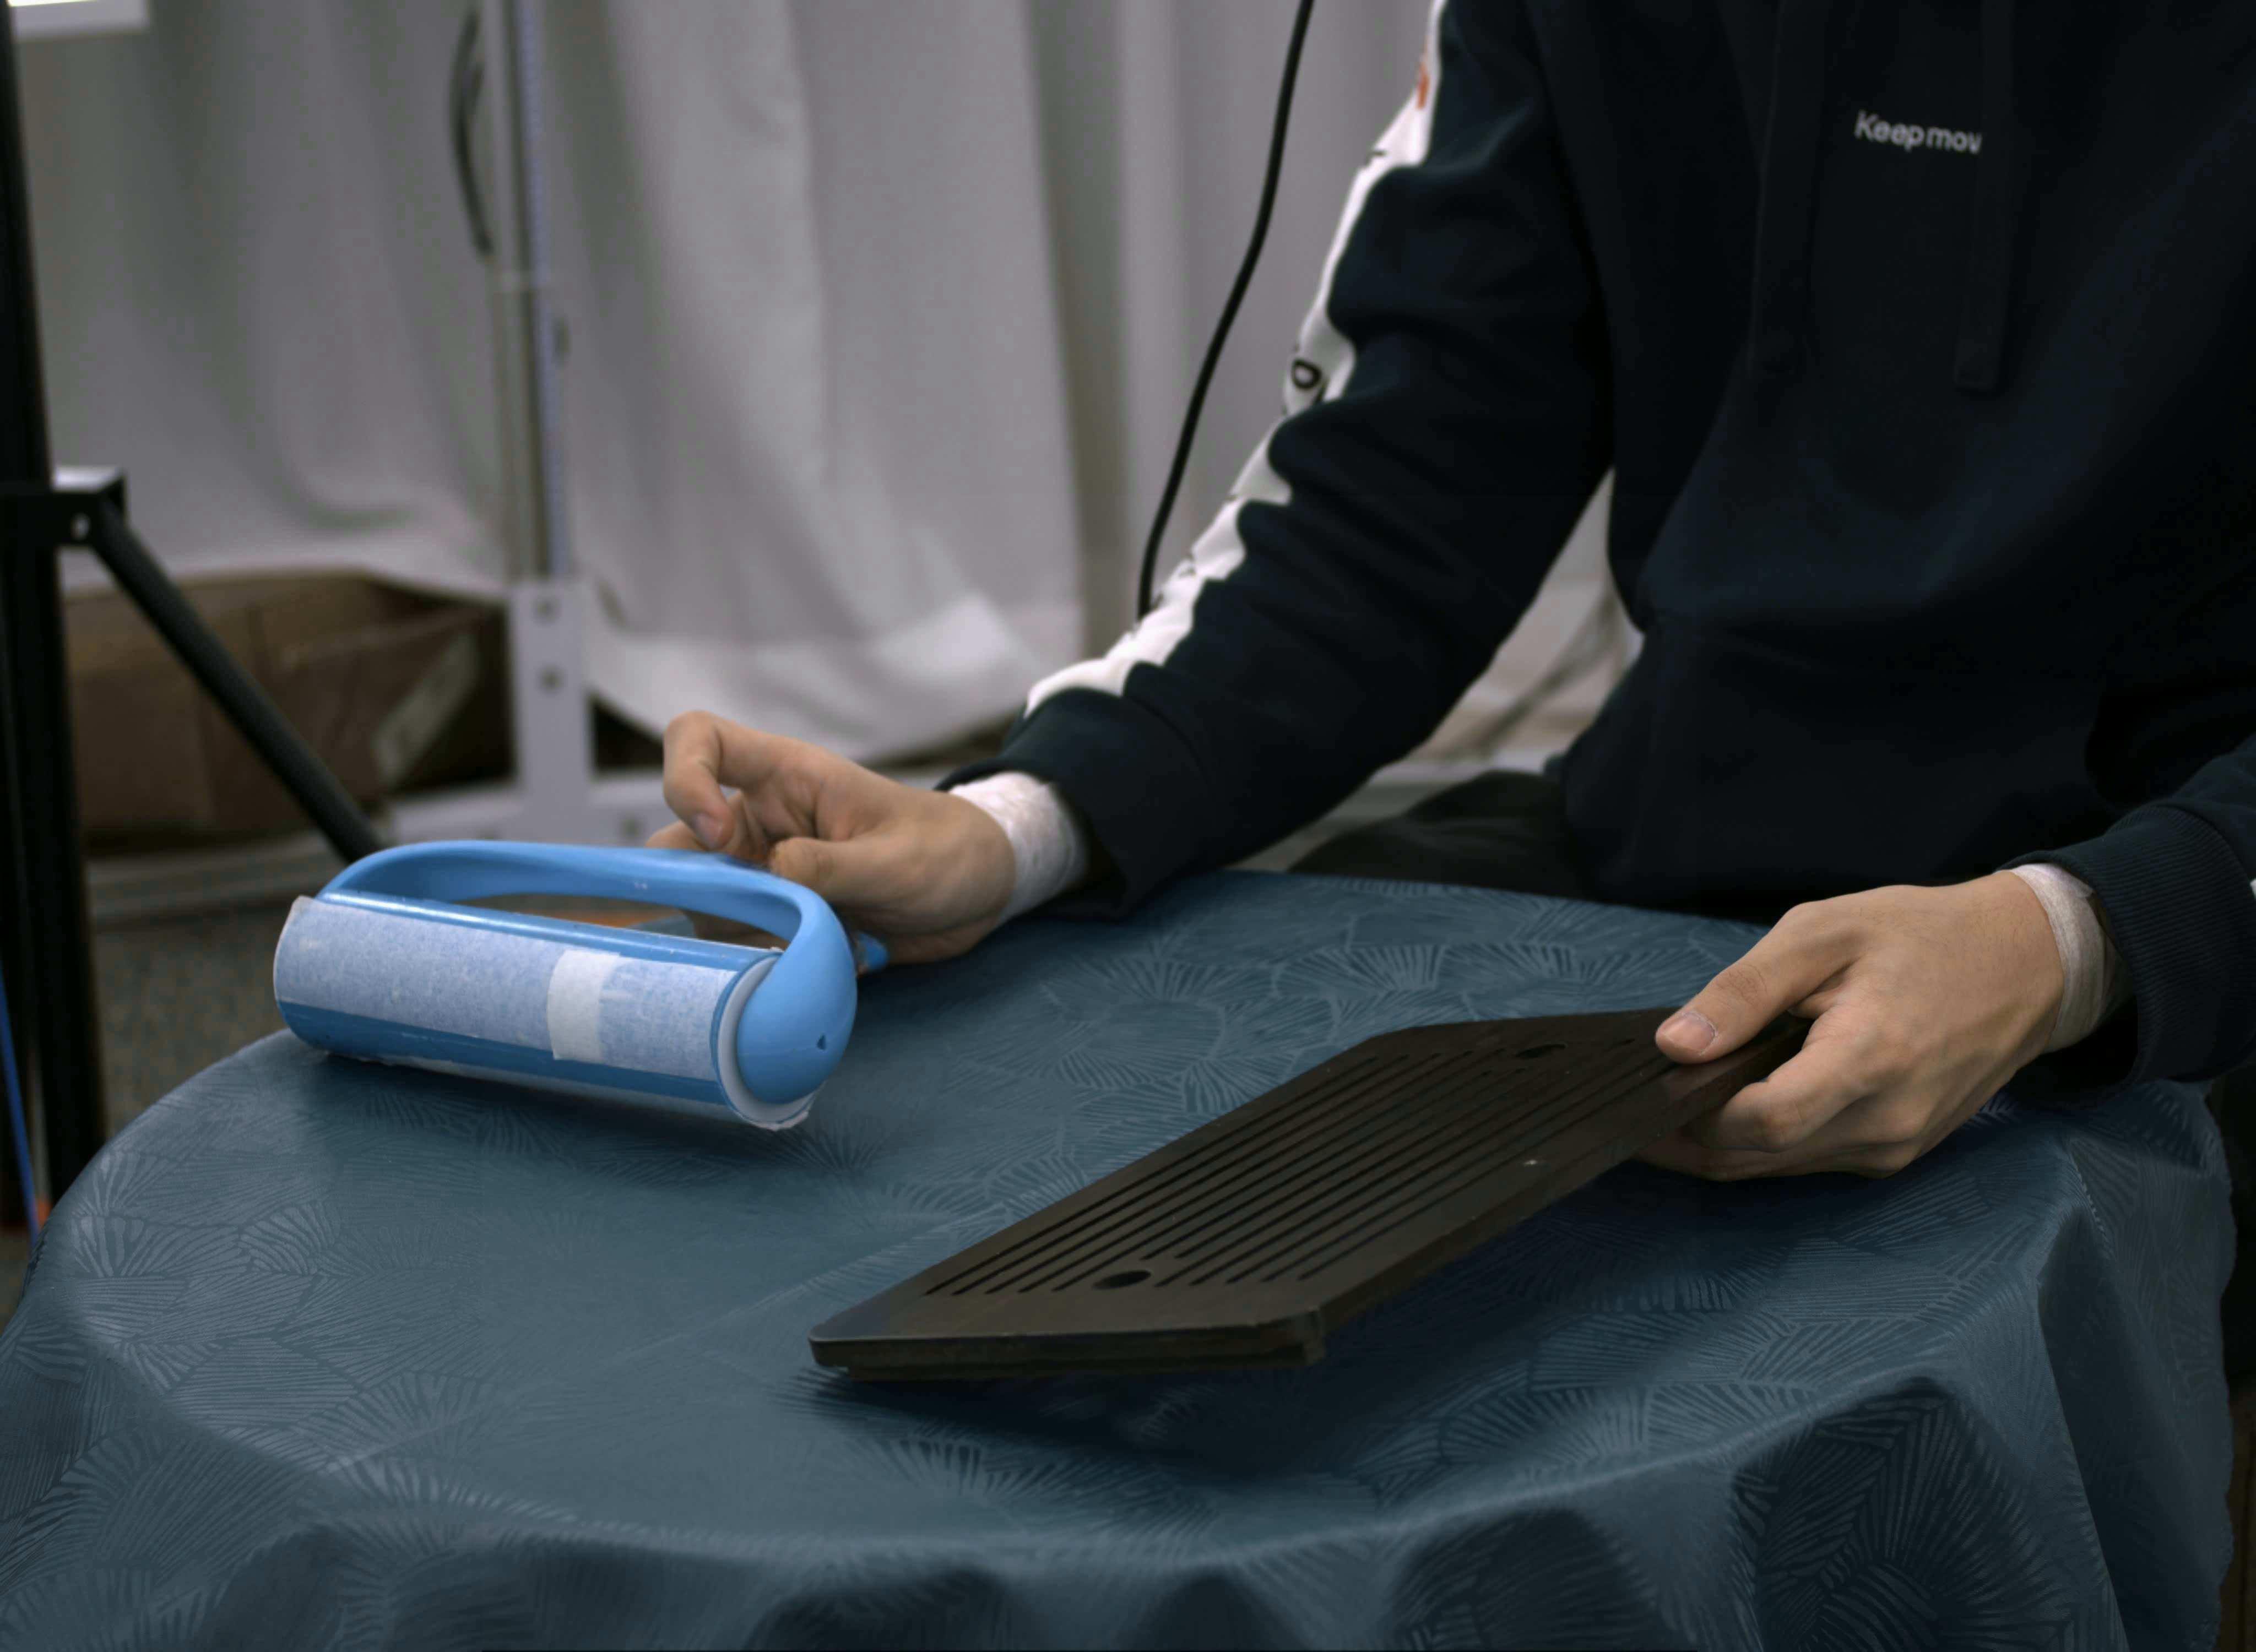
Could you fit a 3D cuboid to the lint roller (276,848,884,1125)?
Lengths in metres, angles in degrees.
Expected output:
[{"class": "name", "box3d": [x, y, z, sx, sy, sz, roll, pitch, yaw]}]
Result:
[{"class": "lint roller", "box3d": [-0.145, 0.040, 1.704, 0.233, 0.068, 0.176, 4, 16, 38]}]

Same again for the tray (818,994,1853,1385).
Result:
[{"class": "tray", "box3d": [0.065, 0.101, 1.477, 0.173, 0.018, 0.300, -7, 10, 38]}]
